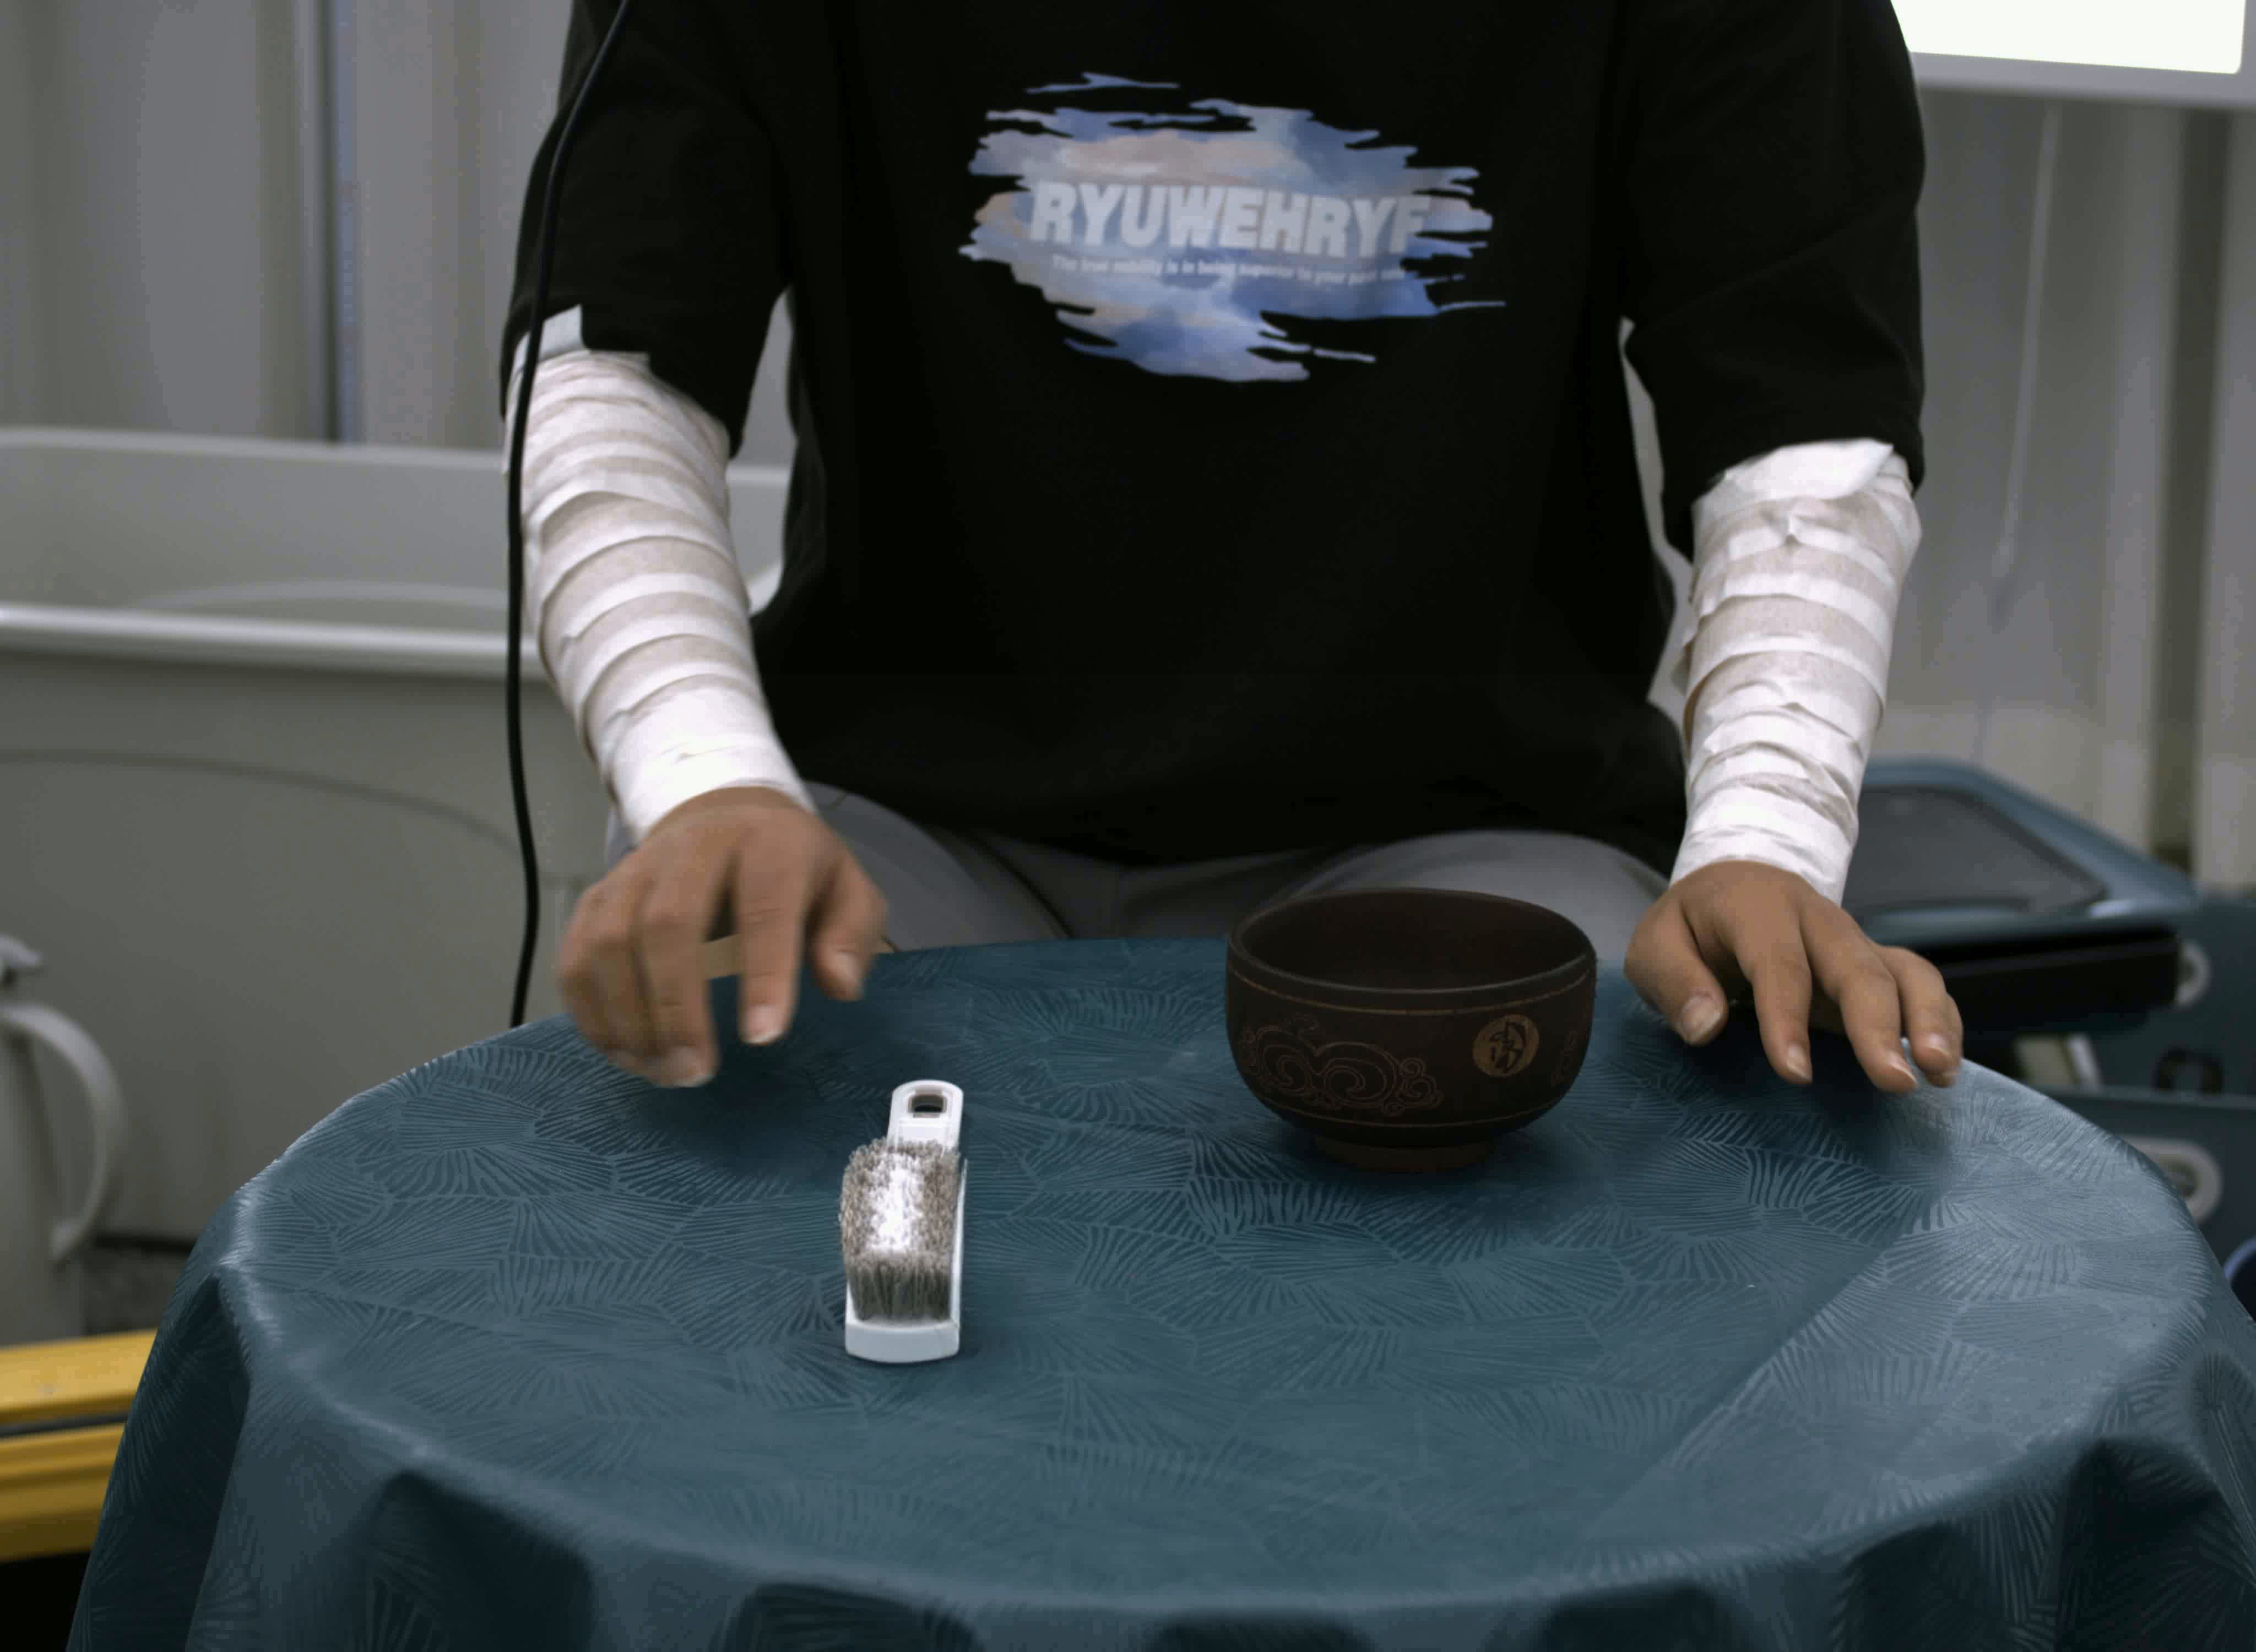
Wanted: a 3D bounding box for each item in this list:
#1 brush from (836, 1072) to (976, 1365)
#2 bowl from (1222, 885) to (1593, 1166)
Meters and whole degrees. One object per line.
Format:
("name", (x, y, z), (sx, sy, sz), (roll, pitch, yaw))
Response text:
("brush", (-0.063, 0.097, 1.579), (0.034, 0.050, 0.242), (2, 16, 1))
("bowl", (0.088, 0.066, 1.659), (0.117, 0.070, 0.117), (0, 14, 1))
